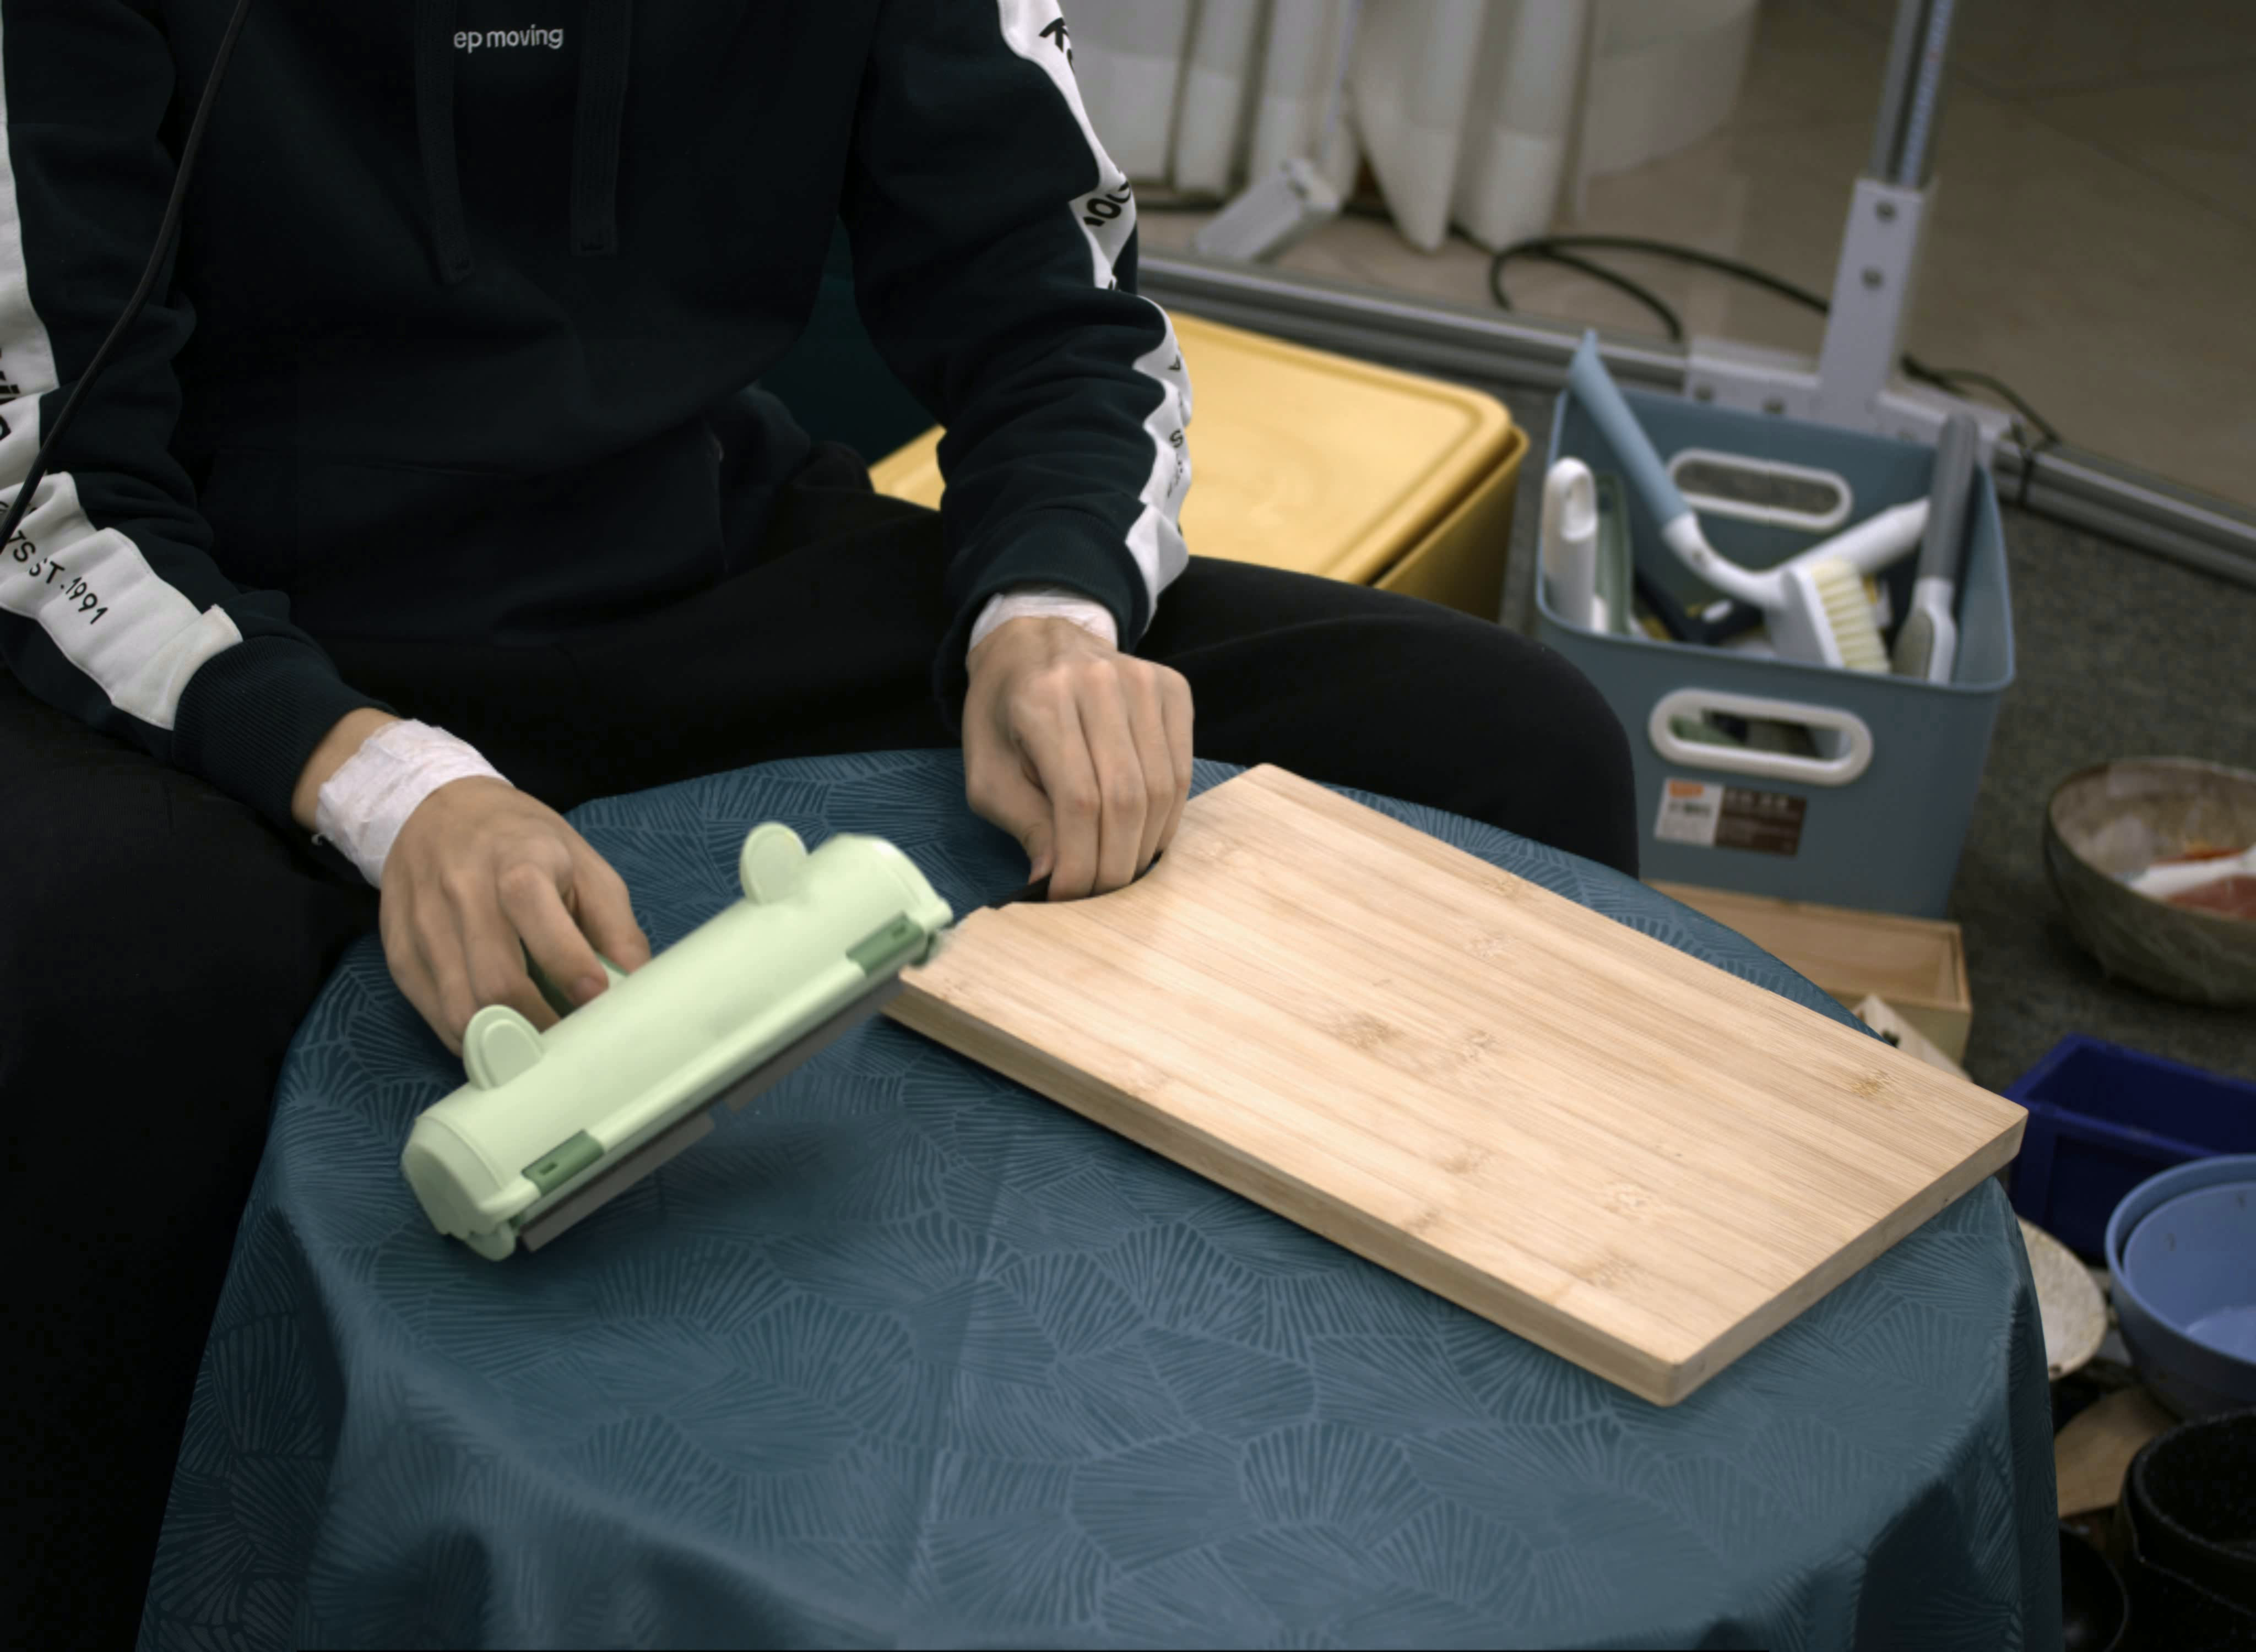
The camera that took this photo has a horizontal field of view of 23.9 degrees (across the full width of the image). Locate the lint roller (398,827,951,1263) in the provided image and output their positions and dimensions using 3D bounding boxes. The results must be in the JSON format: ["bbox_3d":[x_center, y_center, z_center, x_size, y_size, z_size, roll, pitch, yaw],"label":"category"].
[{"bbox_3d":[-0.185,0.047,1.783,0.198,0.081,0.185,-33,40,-26],"label":"lint roller"}]

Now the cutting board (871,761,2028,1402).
[{"bbox_3d":[0.110,0.082,1.883,0.351,0.023,0.250,24,32,30],"label":"cutting board"}]
